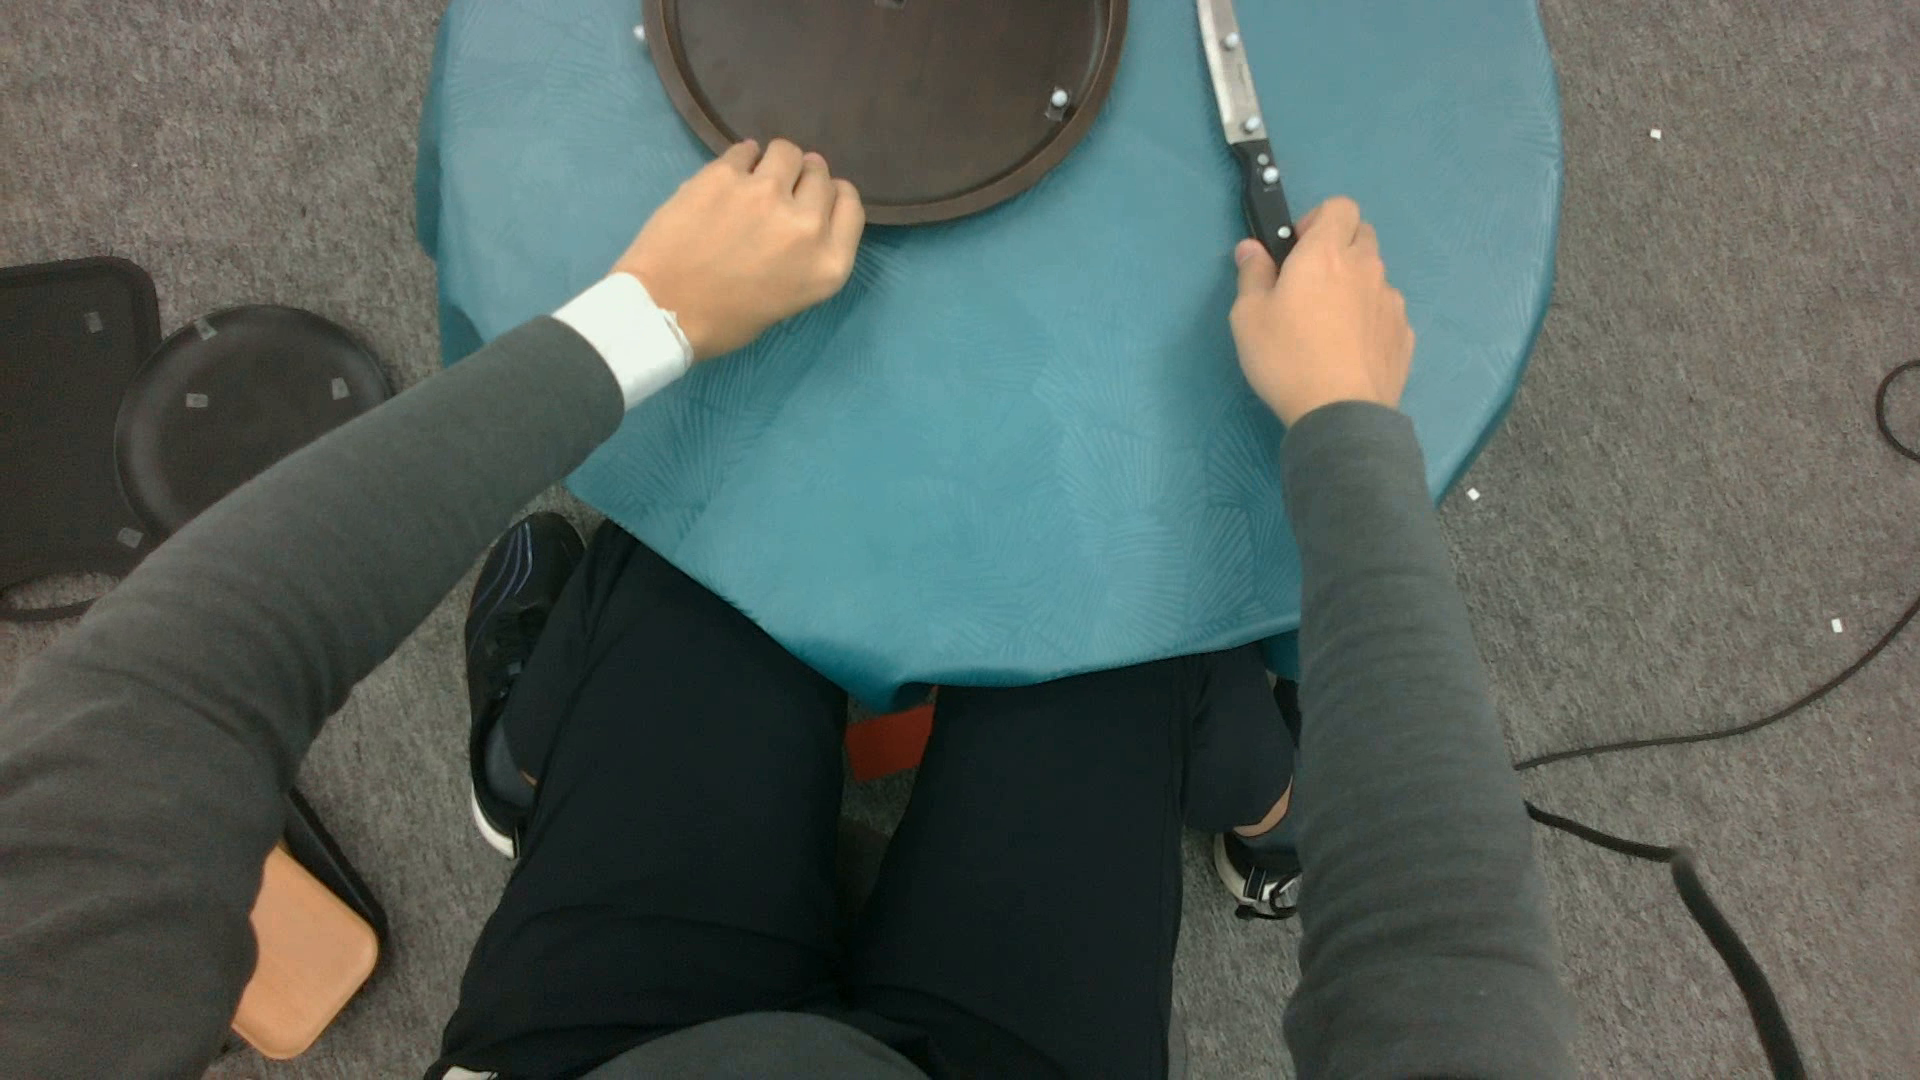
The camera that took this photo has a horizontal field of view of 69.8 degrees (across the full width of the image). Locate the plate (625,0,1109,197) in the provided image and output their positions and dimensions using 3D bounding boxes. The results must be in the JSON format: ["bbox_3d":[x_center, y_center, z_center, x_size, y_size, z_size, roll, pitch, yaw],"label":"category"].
[{"bbox_3d":[-0.047,-0.296,0.720,0.255,0.029,0.255,1,78,-5],"label":"plate"}]

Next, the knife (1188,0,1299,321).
[{"bbox_3d":[0.145,-0.227,0.728,0.024,0.016,0.238,-6,75,-16],"label":"knife"}]
